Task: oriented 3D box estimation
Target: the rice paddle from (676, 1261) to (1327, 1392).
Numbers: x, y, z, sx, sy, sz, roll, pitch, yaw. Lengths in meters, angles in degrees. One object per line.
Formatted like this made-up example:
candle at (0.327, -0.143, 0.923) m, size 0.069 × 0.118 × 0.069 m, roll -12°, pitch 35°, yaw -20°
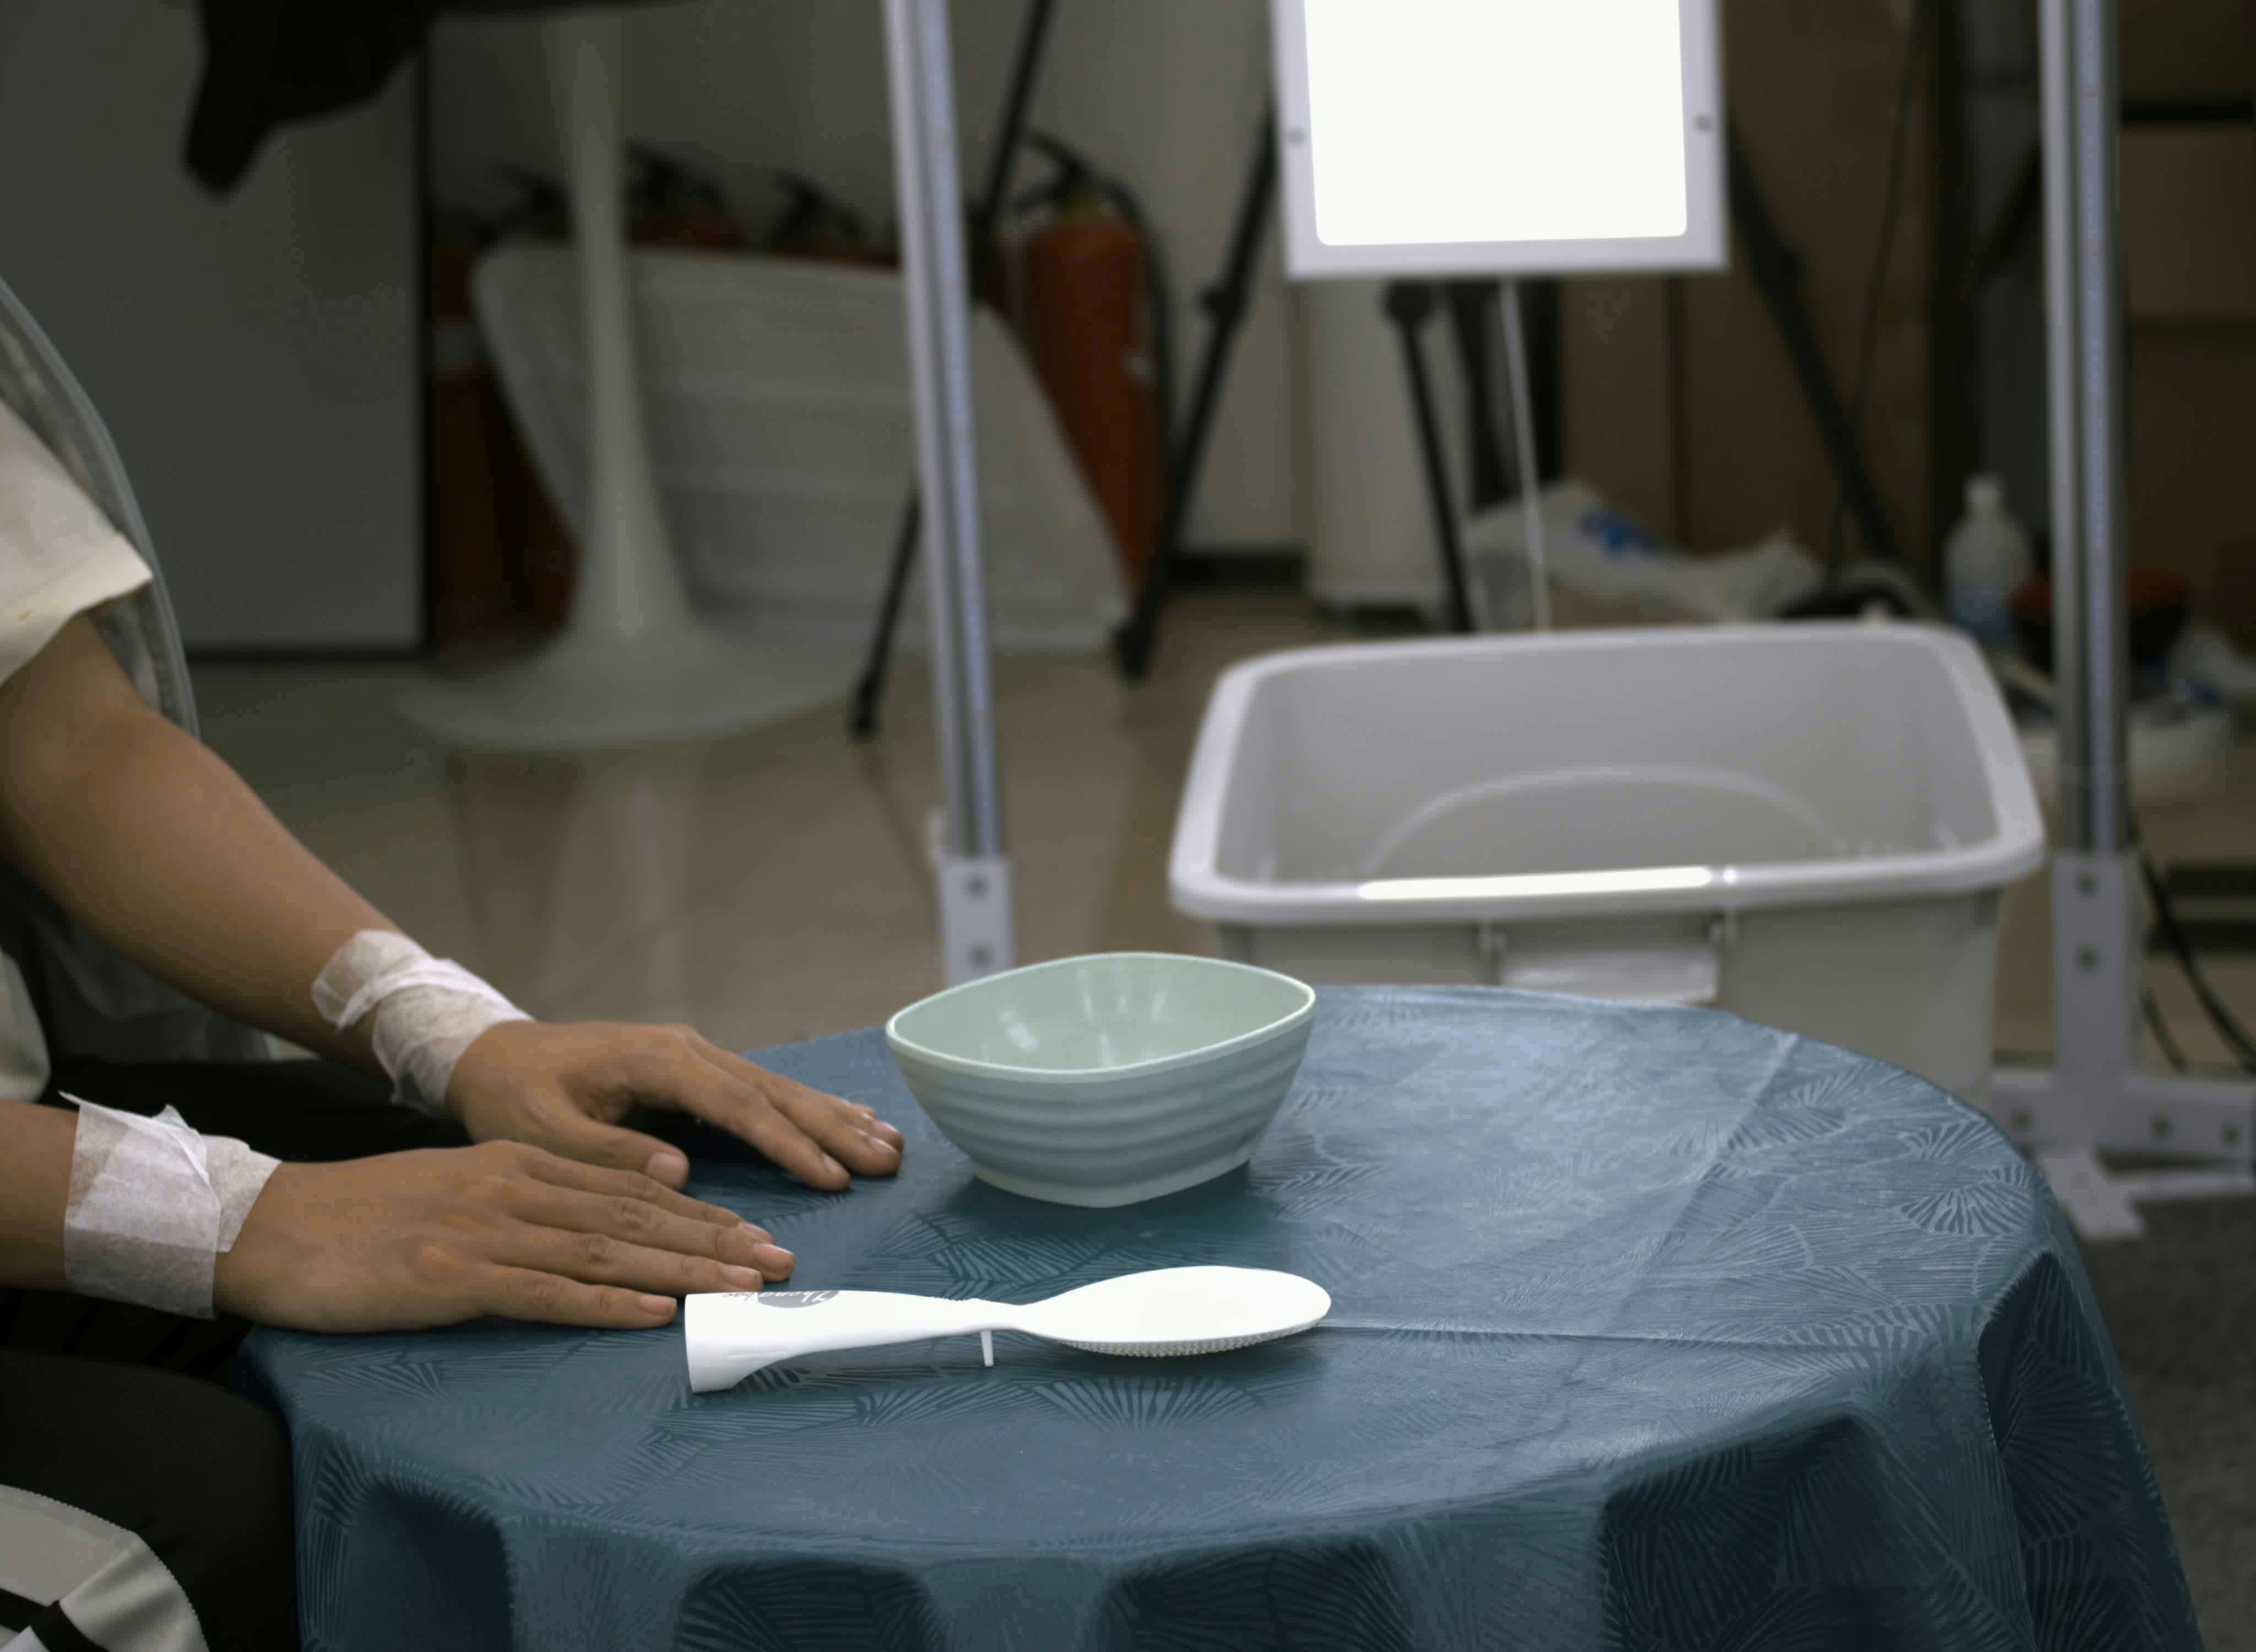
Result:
rice paddle at (-0.039, 0.154, 1.735) m, size 0.205 × 0.029 × 0.068 m, roll -5°, pitch 15°, yaw 2°

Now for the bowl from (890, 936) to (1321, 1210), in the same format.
bowl at (-0.006, 0.090, 1.923) m, size 0.151 × 0.059 × 0.151 m, roll -5°, pitch 17°, yaw 0°
